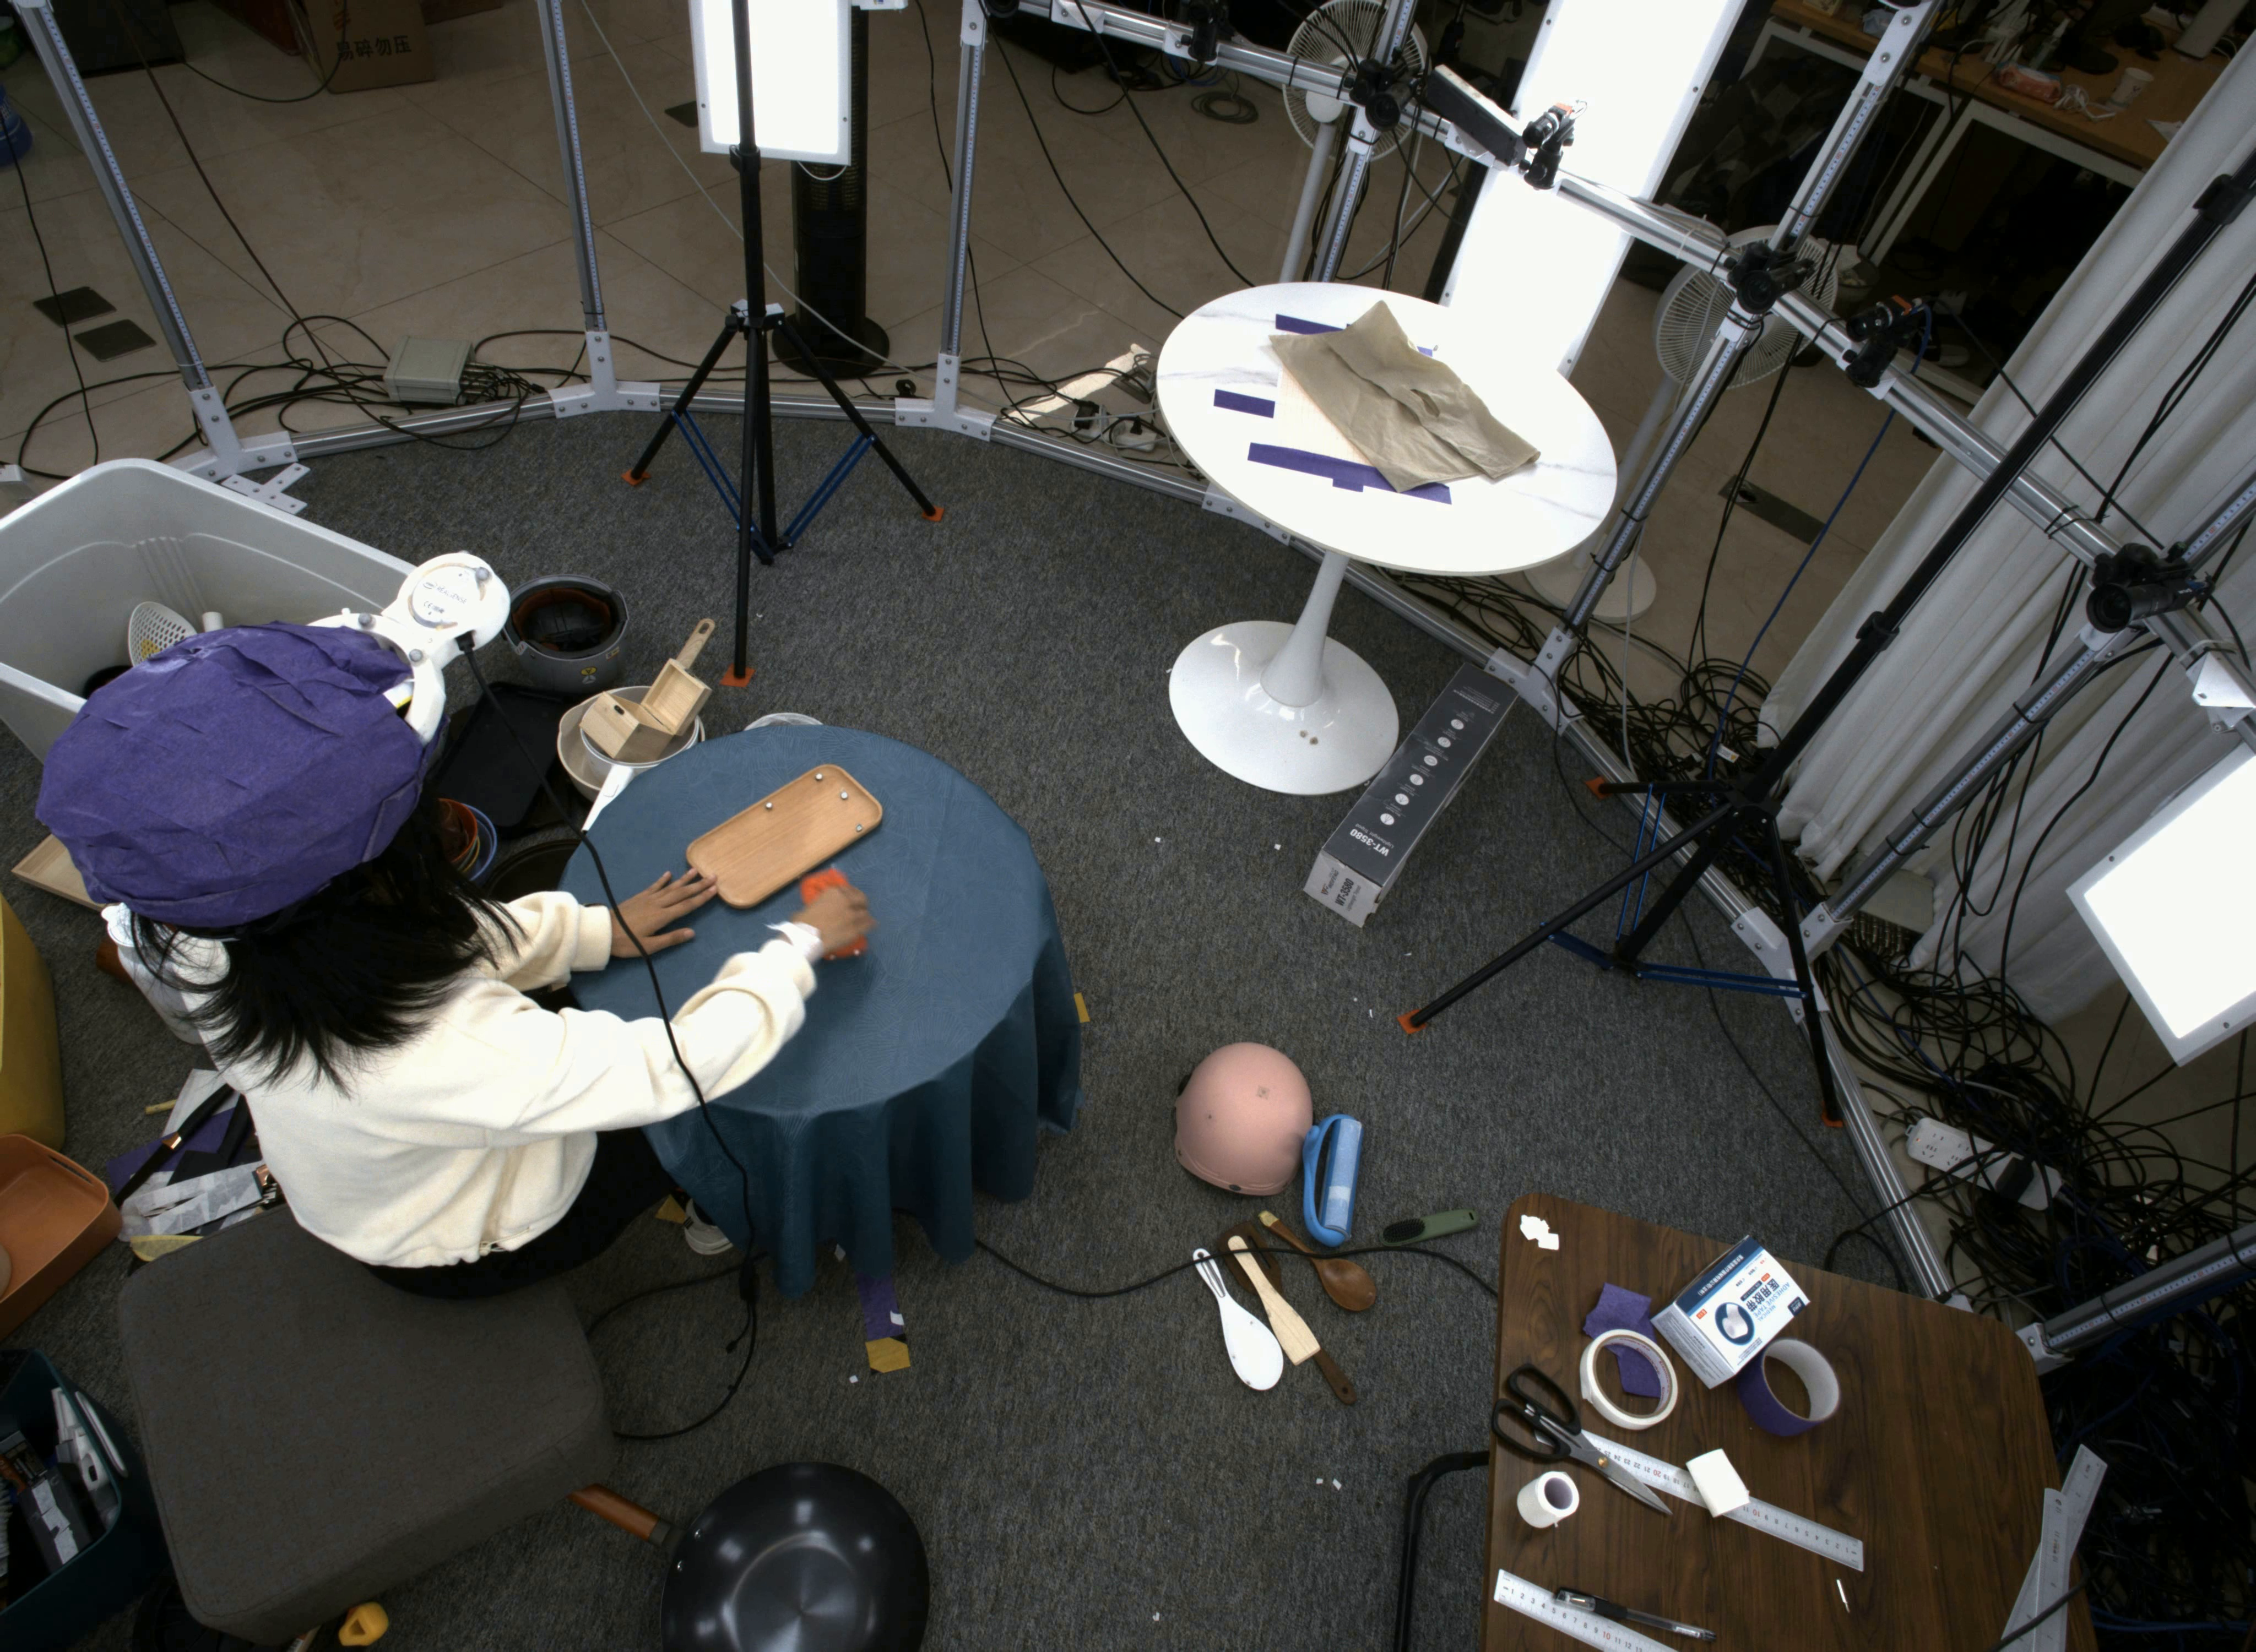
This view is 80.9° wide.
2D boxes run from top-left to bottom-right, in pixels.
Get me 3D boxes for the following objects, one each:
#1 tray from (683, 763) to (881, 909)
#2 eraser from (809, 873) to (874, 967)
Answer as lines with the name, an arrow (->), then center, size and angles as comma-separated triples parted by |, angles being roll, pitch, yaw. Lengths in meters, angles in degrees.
tray -> -0.450, 0.009, 1.694 | 0.127, 0.023, 0.251 | 41, 55, 20
eraser -> -0.354, 0.114, 1.603 | 0.059, 0.023, 0.107 | -15, 73, -18
